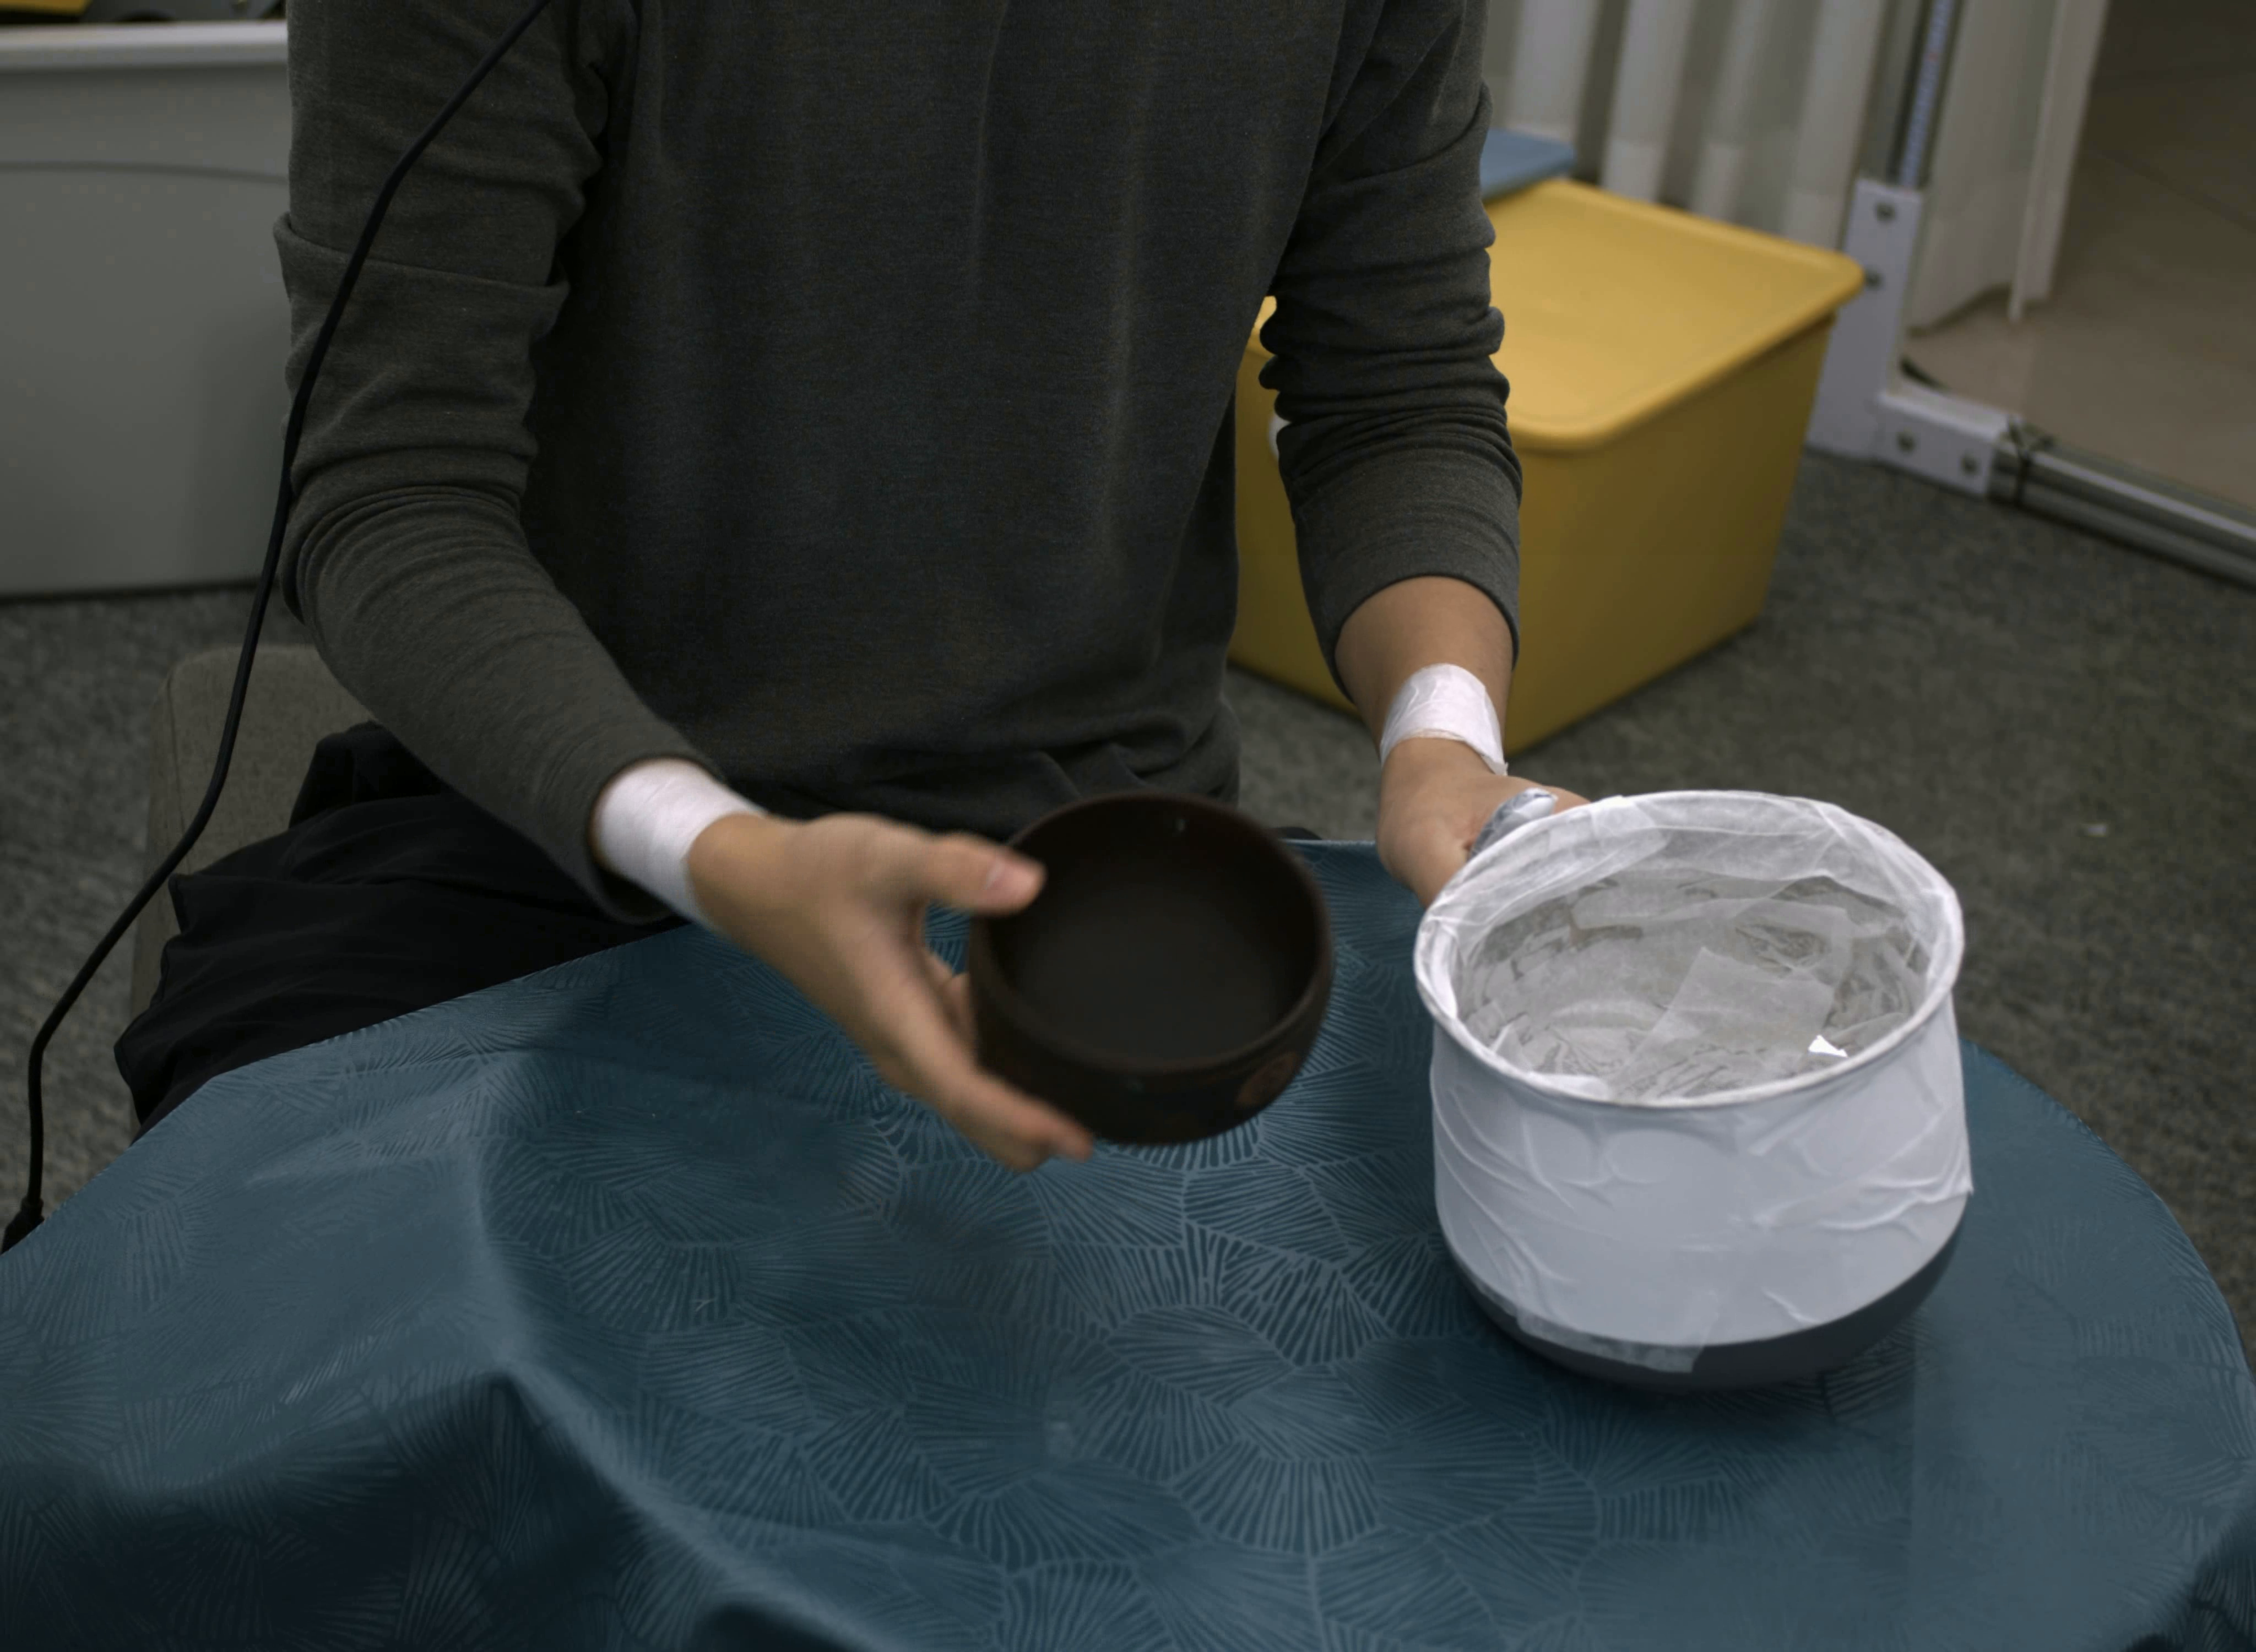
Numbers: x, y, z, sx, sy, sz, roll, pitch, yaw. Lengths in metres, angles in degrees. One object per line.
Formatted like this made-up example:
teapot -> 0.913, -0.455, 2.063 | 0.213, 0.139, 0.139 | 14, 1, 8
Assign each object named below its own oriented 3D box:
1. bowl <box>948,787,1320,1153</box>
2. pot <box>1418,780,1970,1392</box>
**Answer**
bowl -> 0.002, 0.053, 1.680 | 0.118, 0.069, 0.119 | -1, 50, 0
pot -> 0.173, 0.076, 1.761 | 0.178, 0.136, 0.236 | -20, 35, -20
